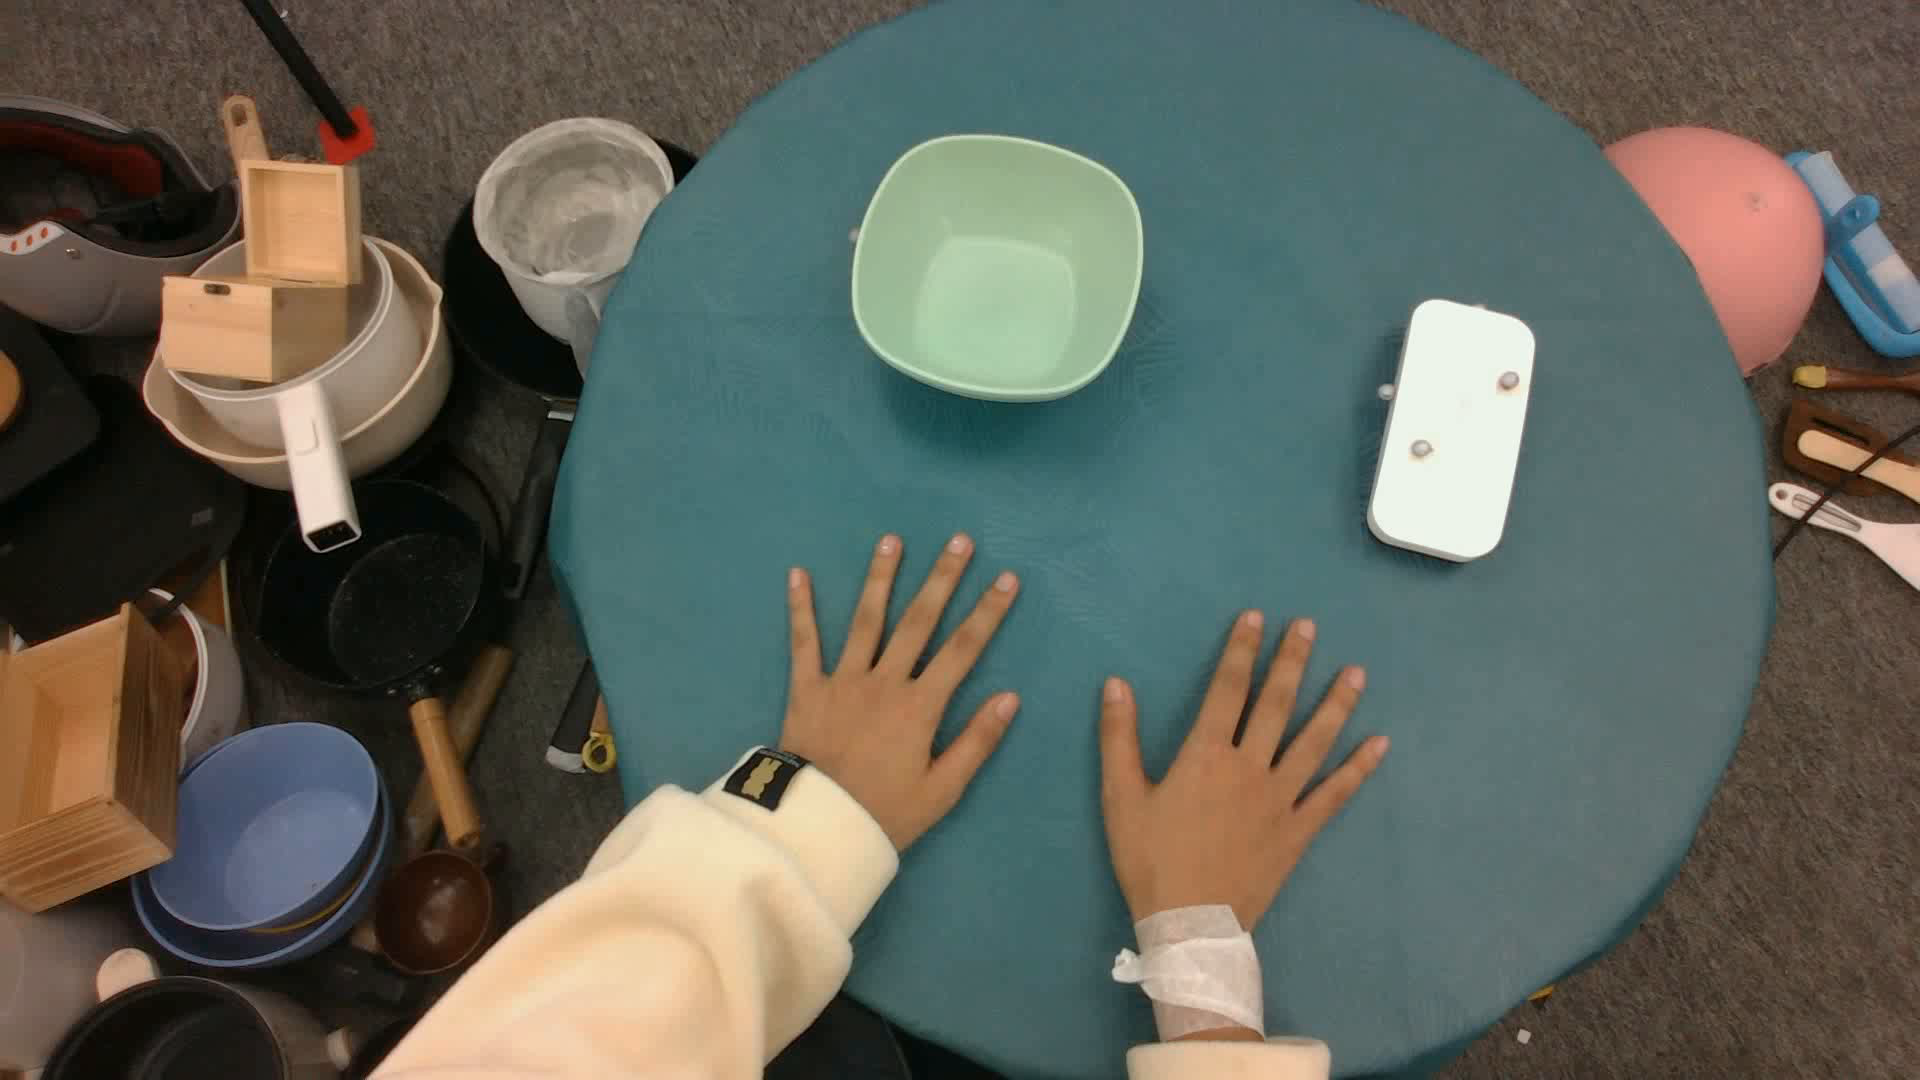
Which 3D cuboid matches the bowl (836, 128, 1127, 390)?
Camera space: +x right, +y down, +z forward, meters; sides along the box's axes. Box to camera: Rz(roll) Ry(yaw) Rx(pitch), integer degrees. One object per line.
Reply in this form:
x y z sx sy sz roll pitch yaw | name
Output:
0.012 -0.131 0.691 0.151 0.058 0.152 0 72 1 | bowl

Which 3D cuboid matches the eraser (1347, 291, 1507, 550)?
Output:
0.230 -0.061 0.683 0.063 0.034 0.131 15 72 4 | eraser
